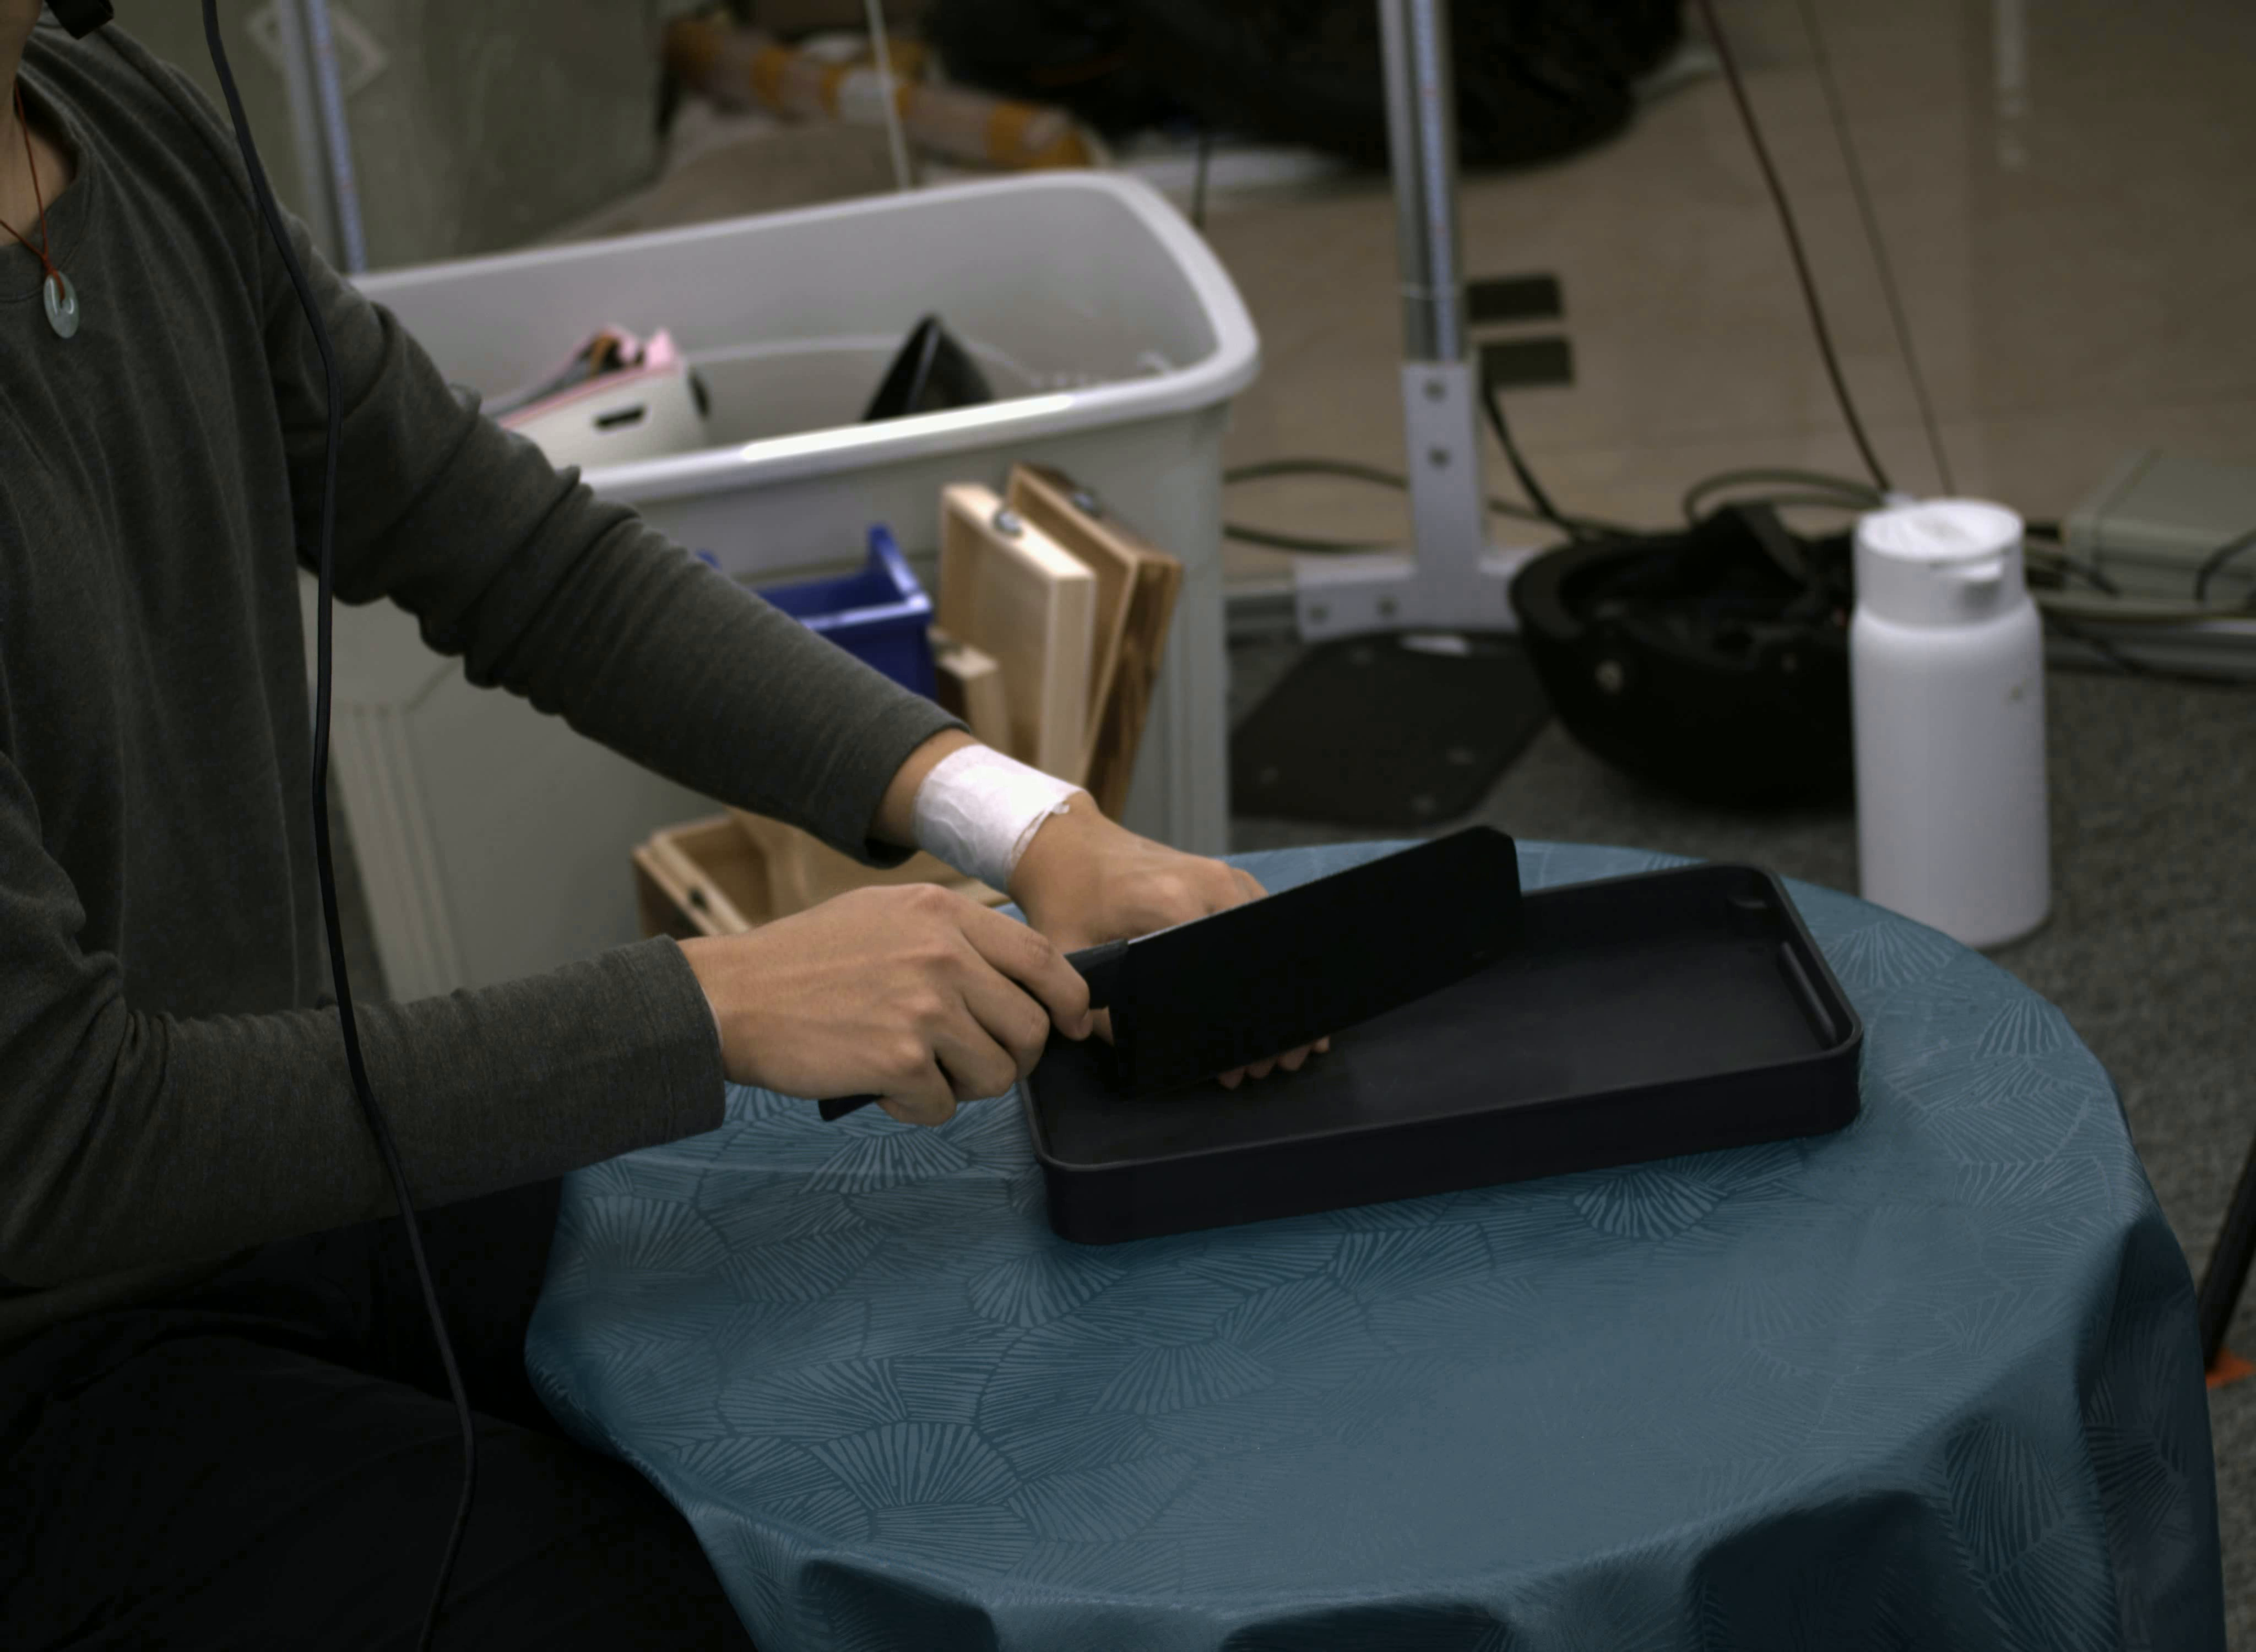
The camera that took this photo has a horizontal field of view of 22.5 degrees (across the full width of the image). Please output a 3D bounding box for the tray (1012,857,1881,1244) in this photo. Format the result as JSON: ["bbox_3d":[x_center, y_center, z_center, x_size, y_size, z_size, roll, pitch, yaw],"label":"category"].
[{"bbox_3d":[0.119,0.084,2.196,0.317,0.037,0.181,-9,25,-6],"label":"tray"}]

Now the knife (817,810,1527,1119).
[{"bbox_3d":[0.020,0.062,2.168,0.301,0.082,0.020,-14,24,-22],"label":"knife"}]
